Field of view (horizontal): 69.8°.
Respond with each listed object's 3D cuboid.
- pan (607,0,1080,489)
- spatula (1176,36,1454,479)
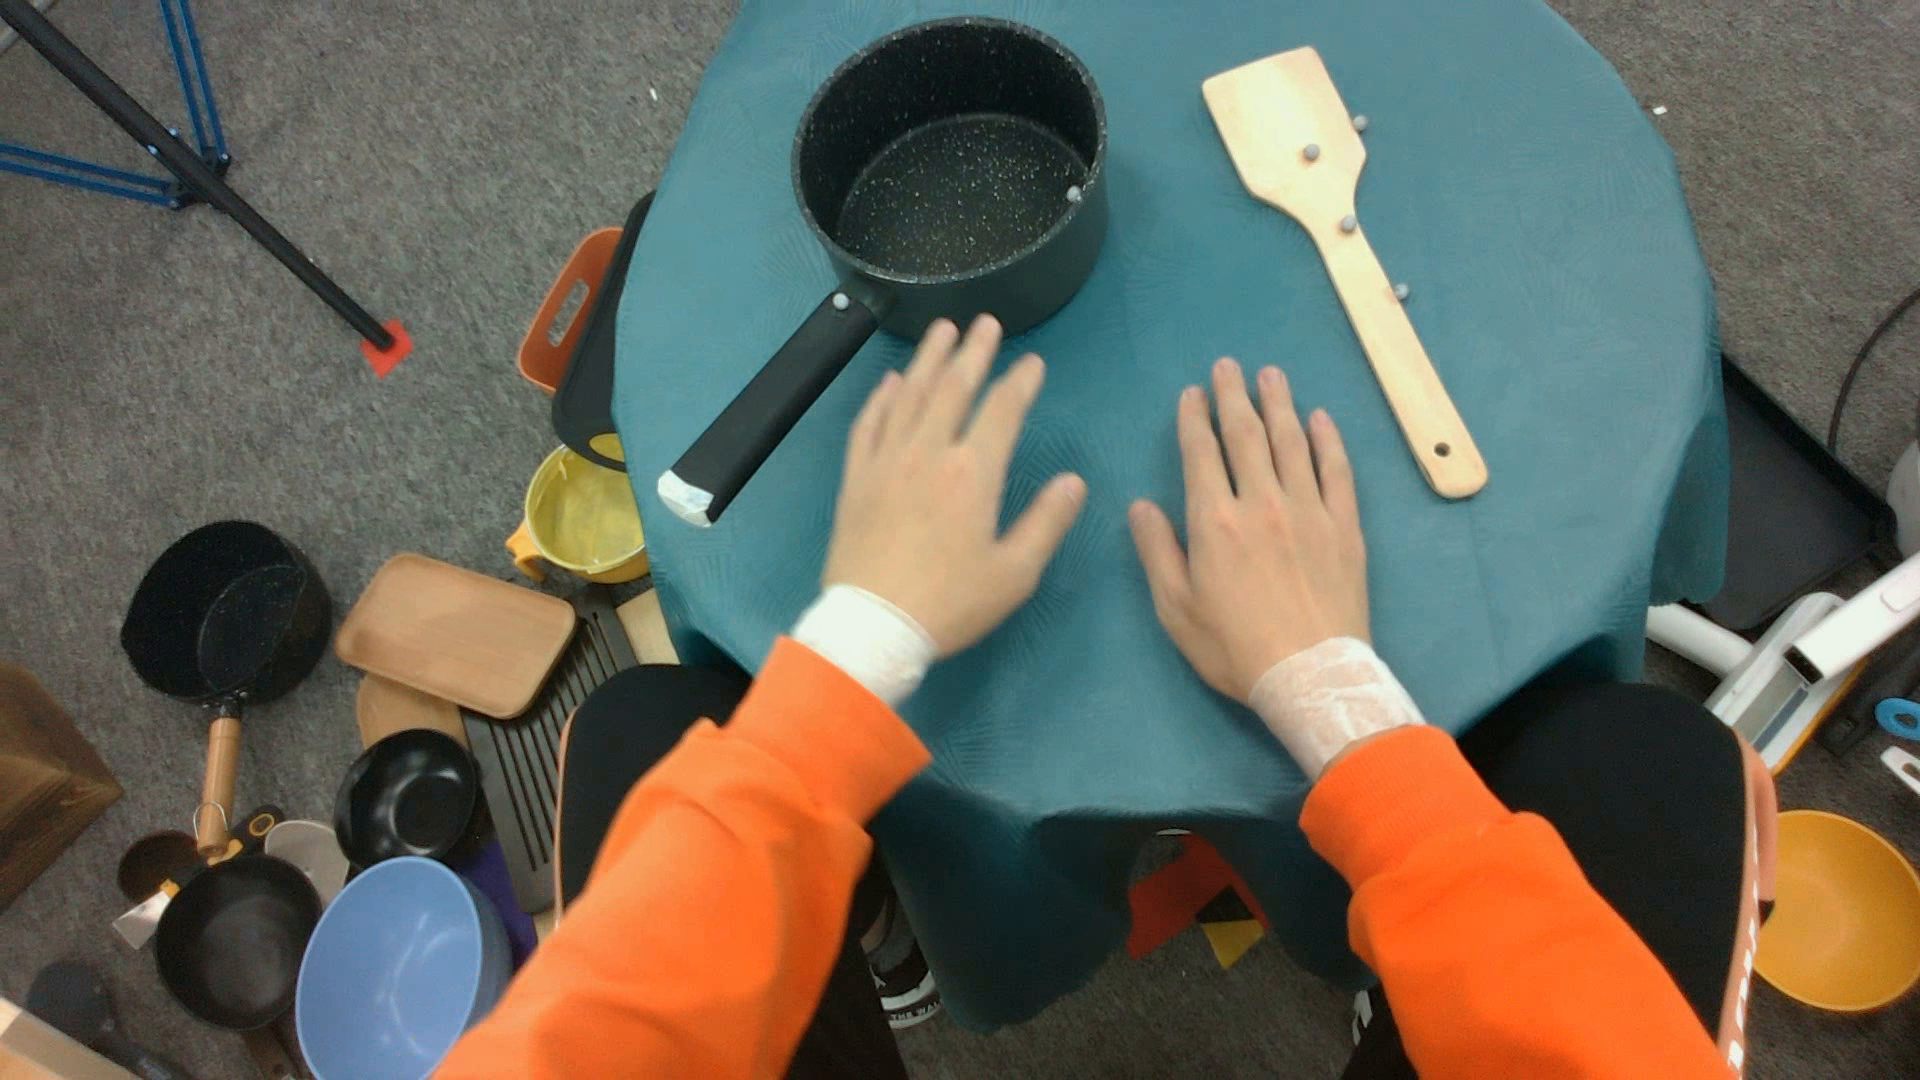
[{"bbox_3d":[-0.062,-0.146,0.741,0.172,0.086,0.329,30,73,20],"label":"pan"},{"bbox_3d":[0.198,-0.159,0.747,0.072,0.010,0.294,-16,66,-2],"label":"spatula"}]
